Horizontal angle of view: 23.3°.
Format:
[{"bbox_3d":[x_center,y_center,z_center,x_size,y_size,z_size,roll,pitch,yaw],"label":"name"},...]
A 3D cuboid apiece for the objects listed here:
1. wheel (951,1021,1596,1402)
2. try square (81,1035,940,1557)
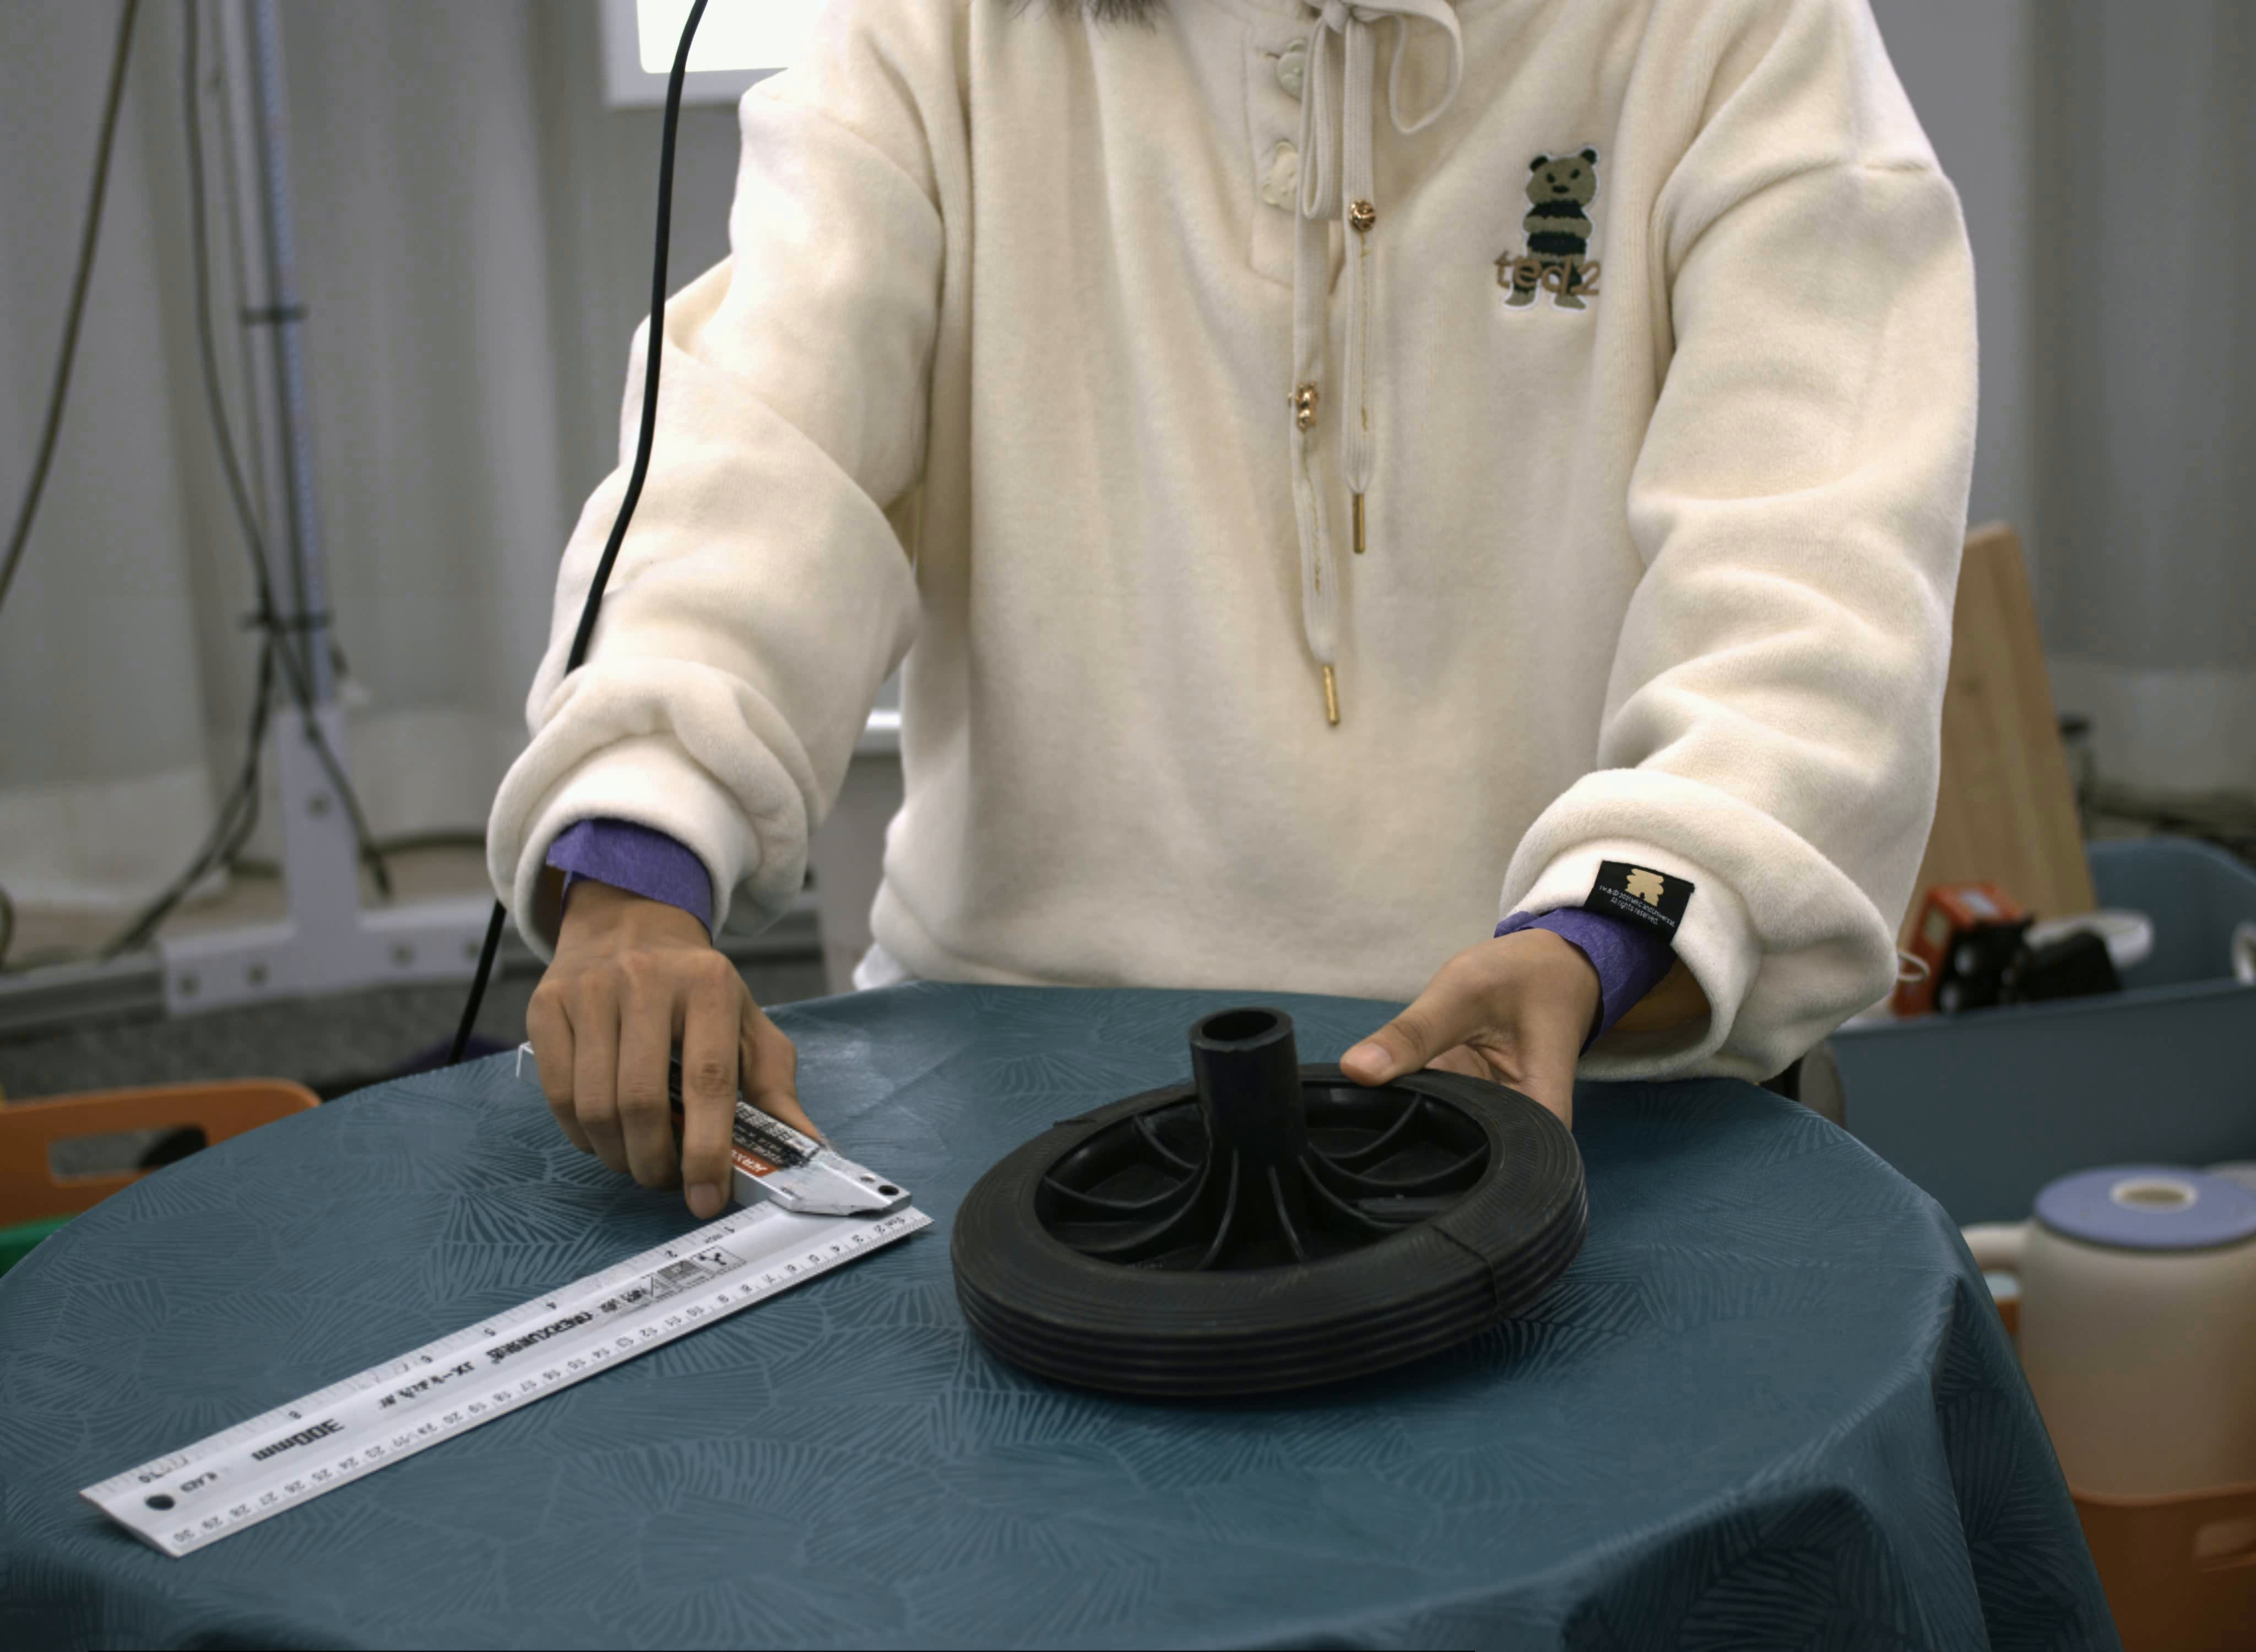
[{"bbox_3d":[0.040,0.099,1.597,0.189,0.078,0.189,-9,20,-3],"label":"wheel"},{"bbox_3d":[-0.211,0.133,1.615,0.153,0.016,0.312,23,28,34],"label":"try square"}]
